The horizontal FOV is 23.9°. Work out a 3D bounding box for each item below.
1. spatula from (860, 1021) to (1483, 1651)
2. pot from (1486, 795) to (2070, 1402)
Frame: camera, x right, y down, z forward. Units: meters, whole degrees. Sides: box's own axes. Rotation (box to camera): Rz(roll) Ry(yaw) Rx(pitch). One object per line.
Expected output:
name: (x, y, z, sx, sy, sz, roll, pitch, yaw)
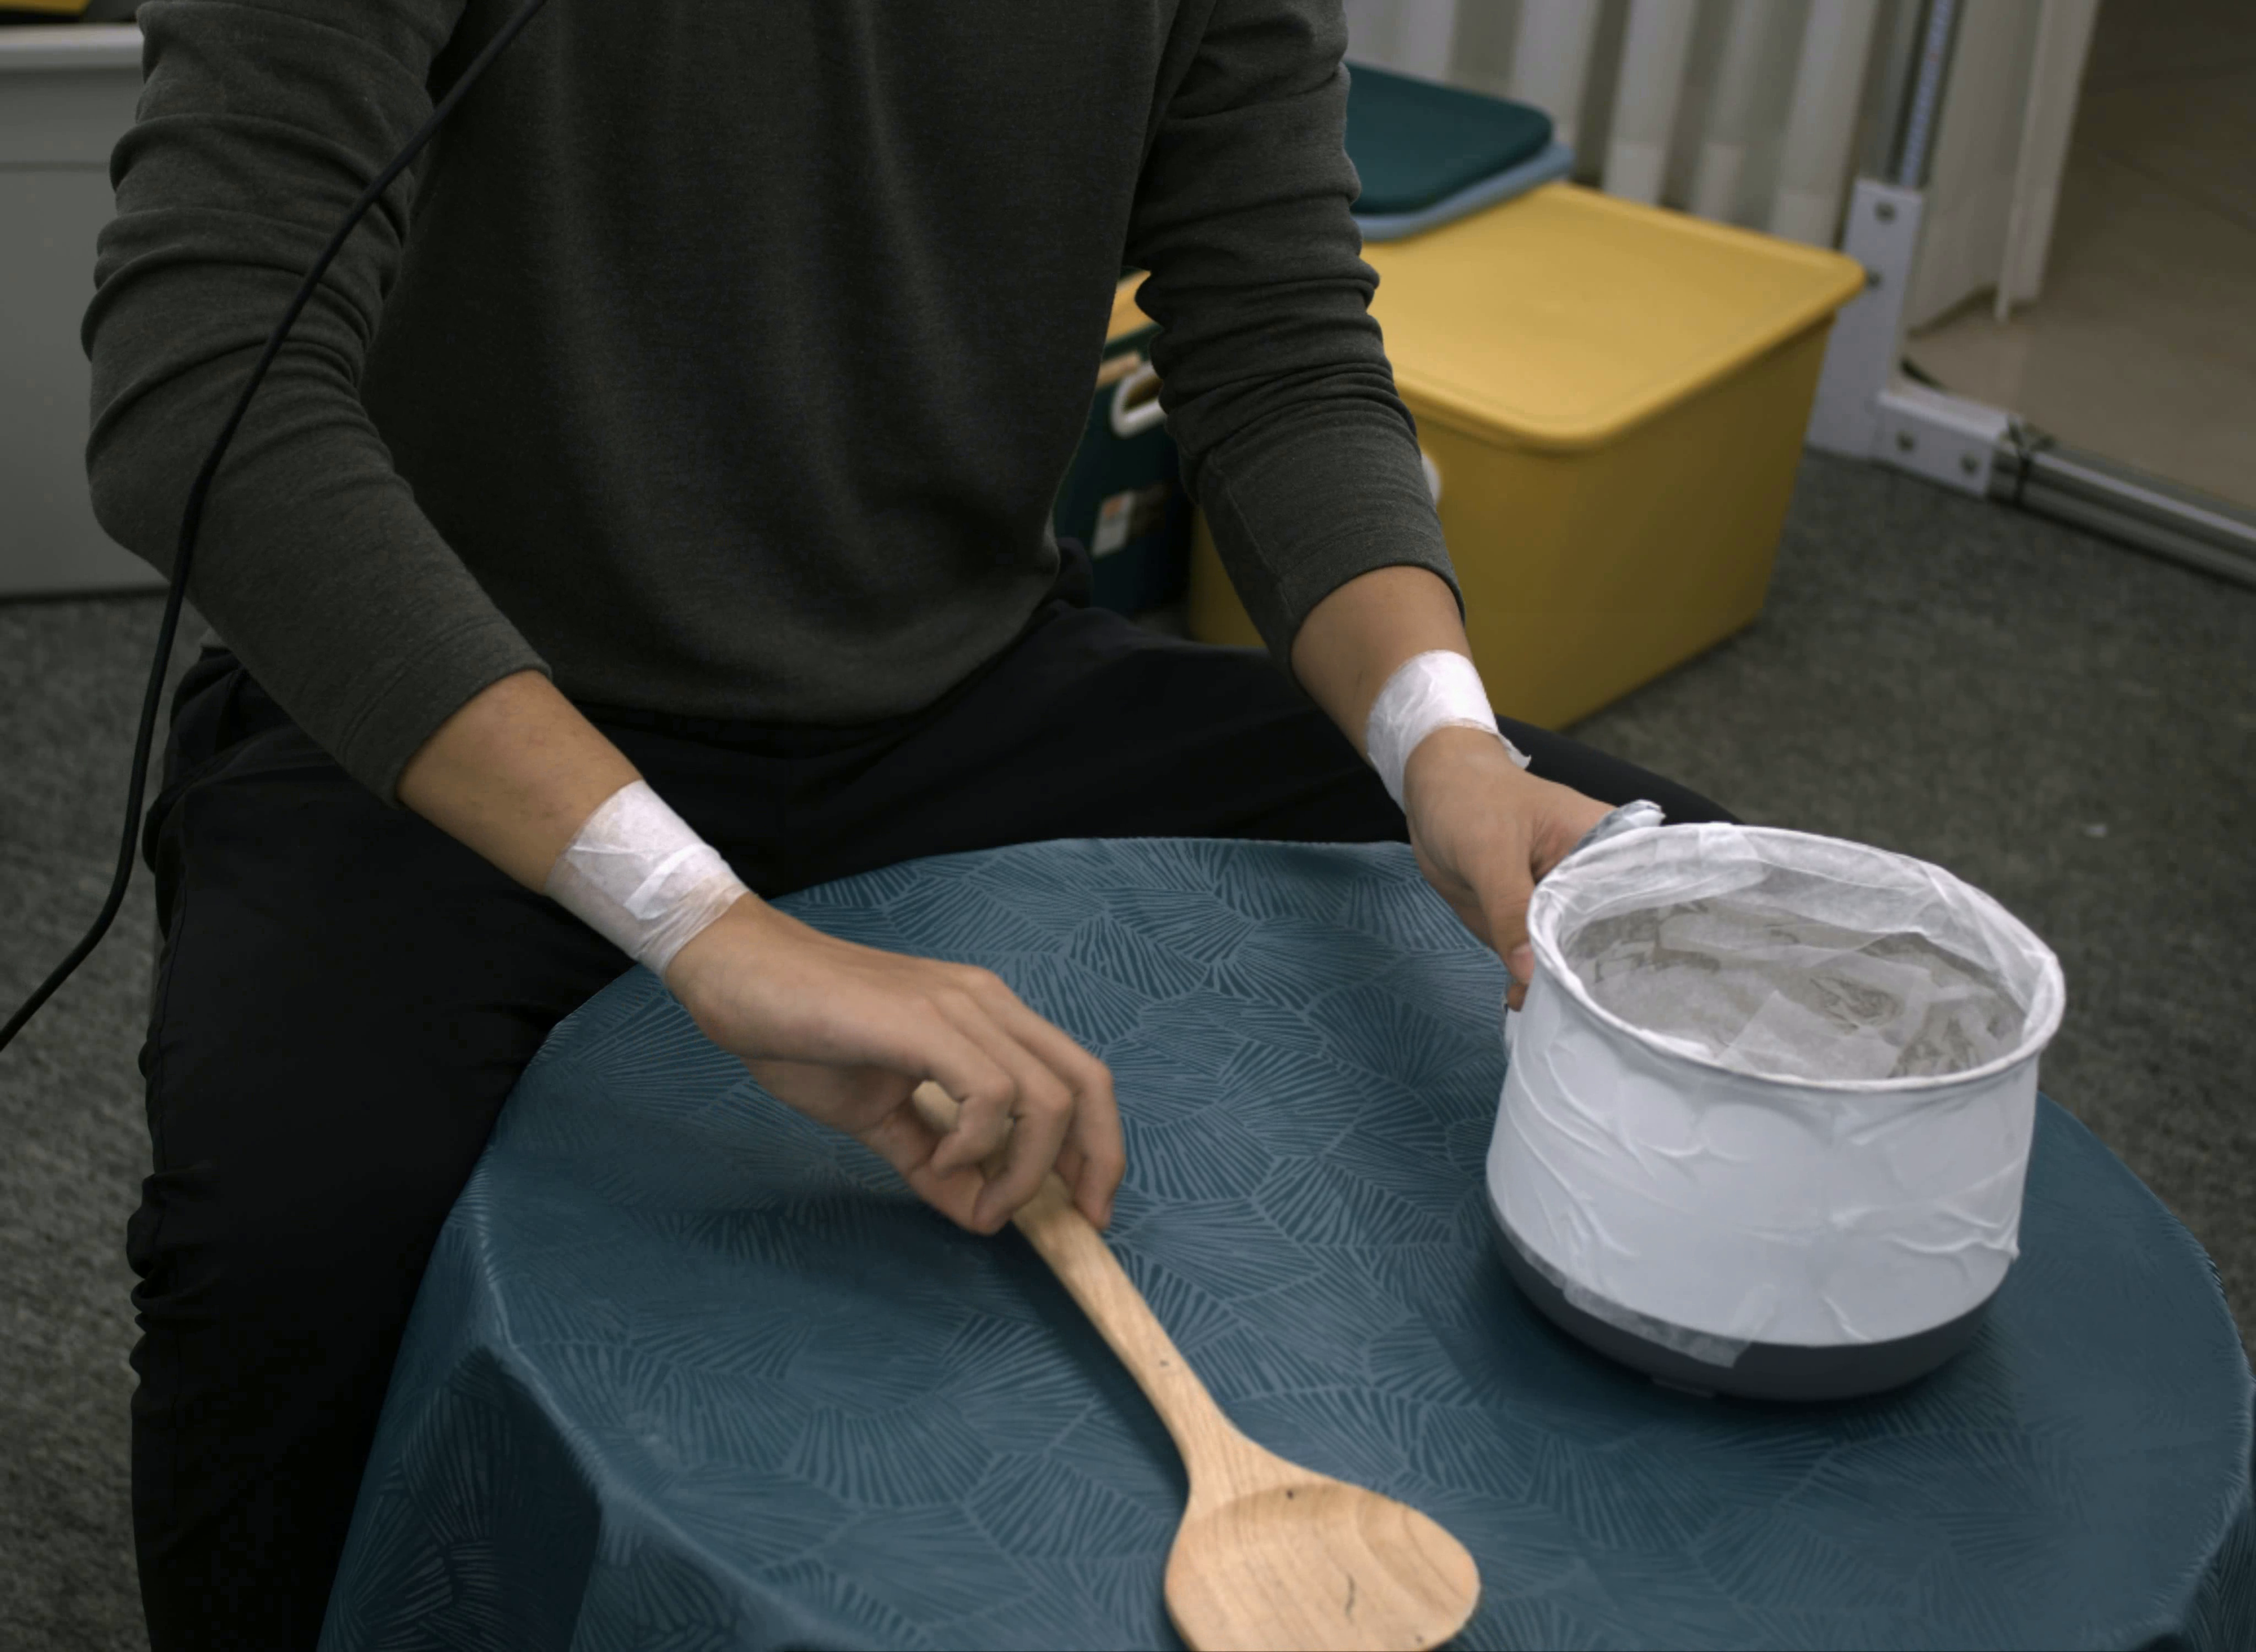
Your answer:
spatula: (-0.010, 0.160, 1.704, 0.095, 0.018, 0.394, -11, 33, -22)
pot: (0.198, 0.083, 1.778, 0.177, 0.136, 0.236, -7, 30, -26)
